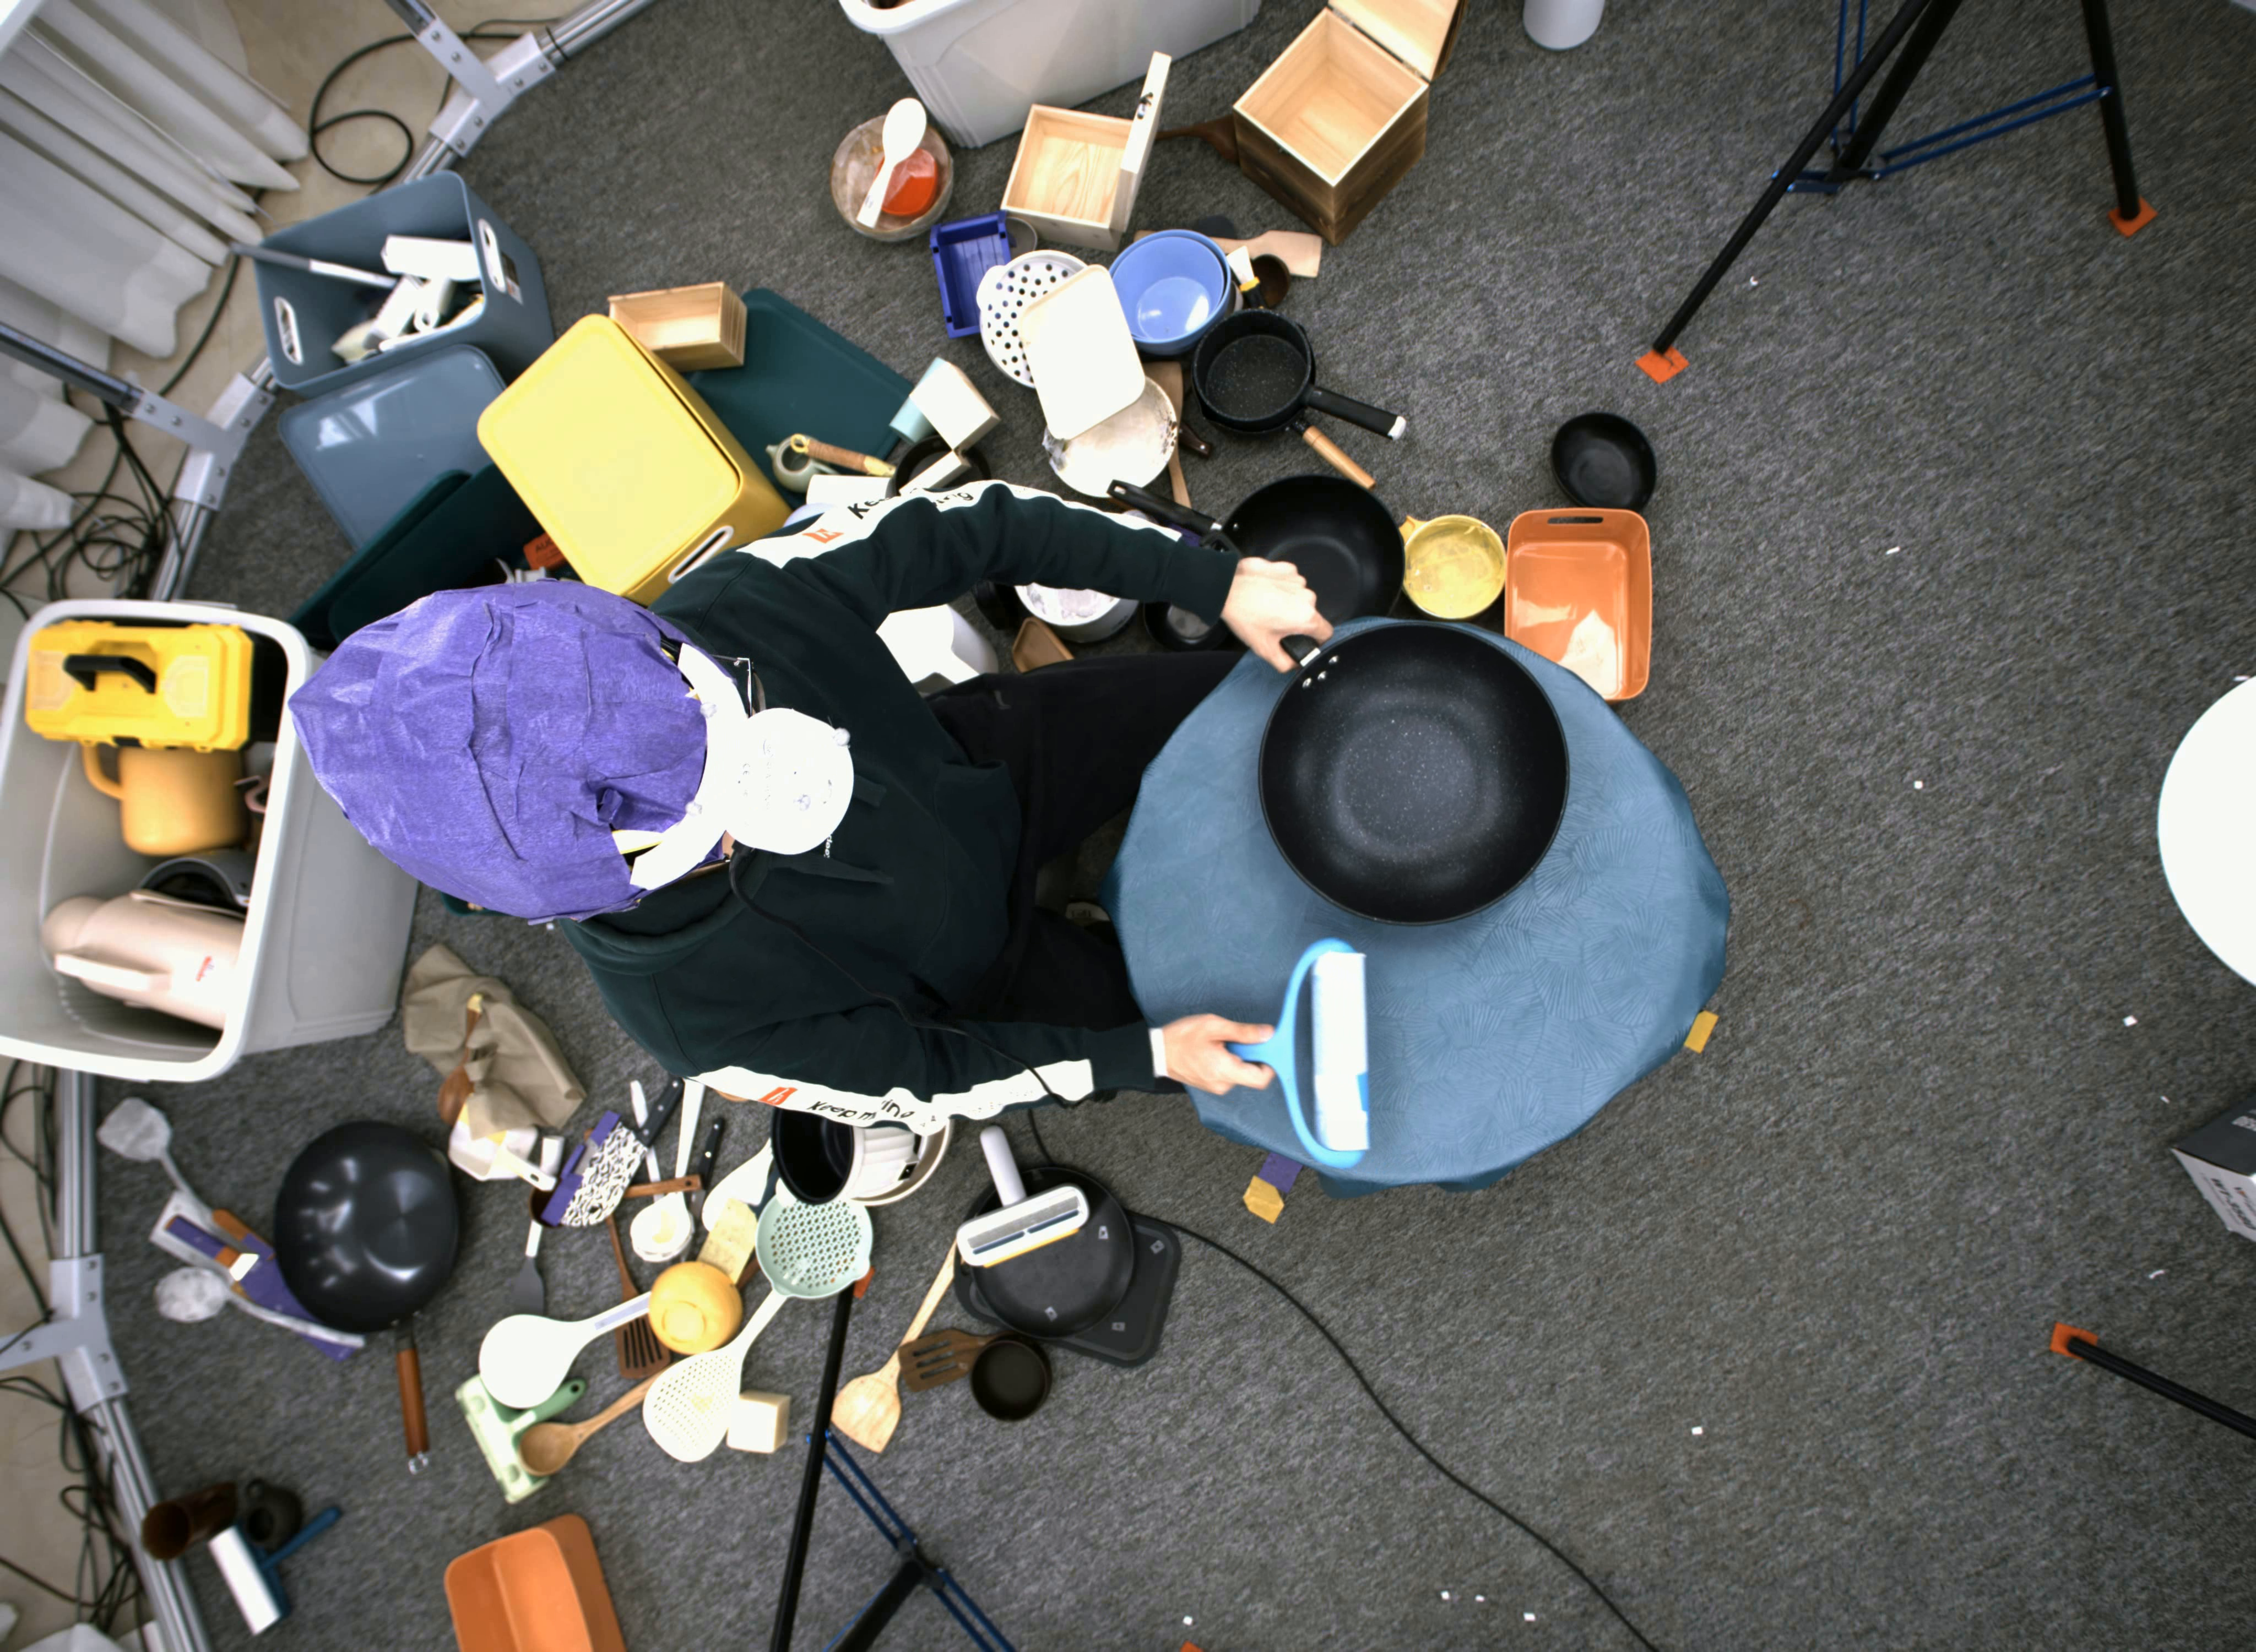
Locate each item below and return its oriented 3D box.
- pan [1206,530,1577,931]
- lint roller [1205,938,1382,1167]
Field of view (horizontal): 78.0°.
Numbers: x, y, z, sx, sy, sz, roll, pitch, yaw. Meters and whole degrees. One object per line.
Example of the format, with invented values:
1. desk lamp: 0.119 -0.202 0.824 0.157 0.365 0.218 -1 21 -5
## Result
1. pan: 0.242 -0.112 1.414 0.311 0.112 0.474 -40 82 4
2. lint roller: 0.163 0.232 1.402 0.181 0.068 0.227 -7 83 12
